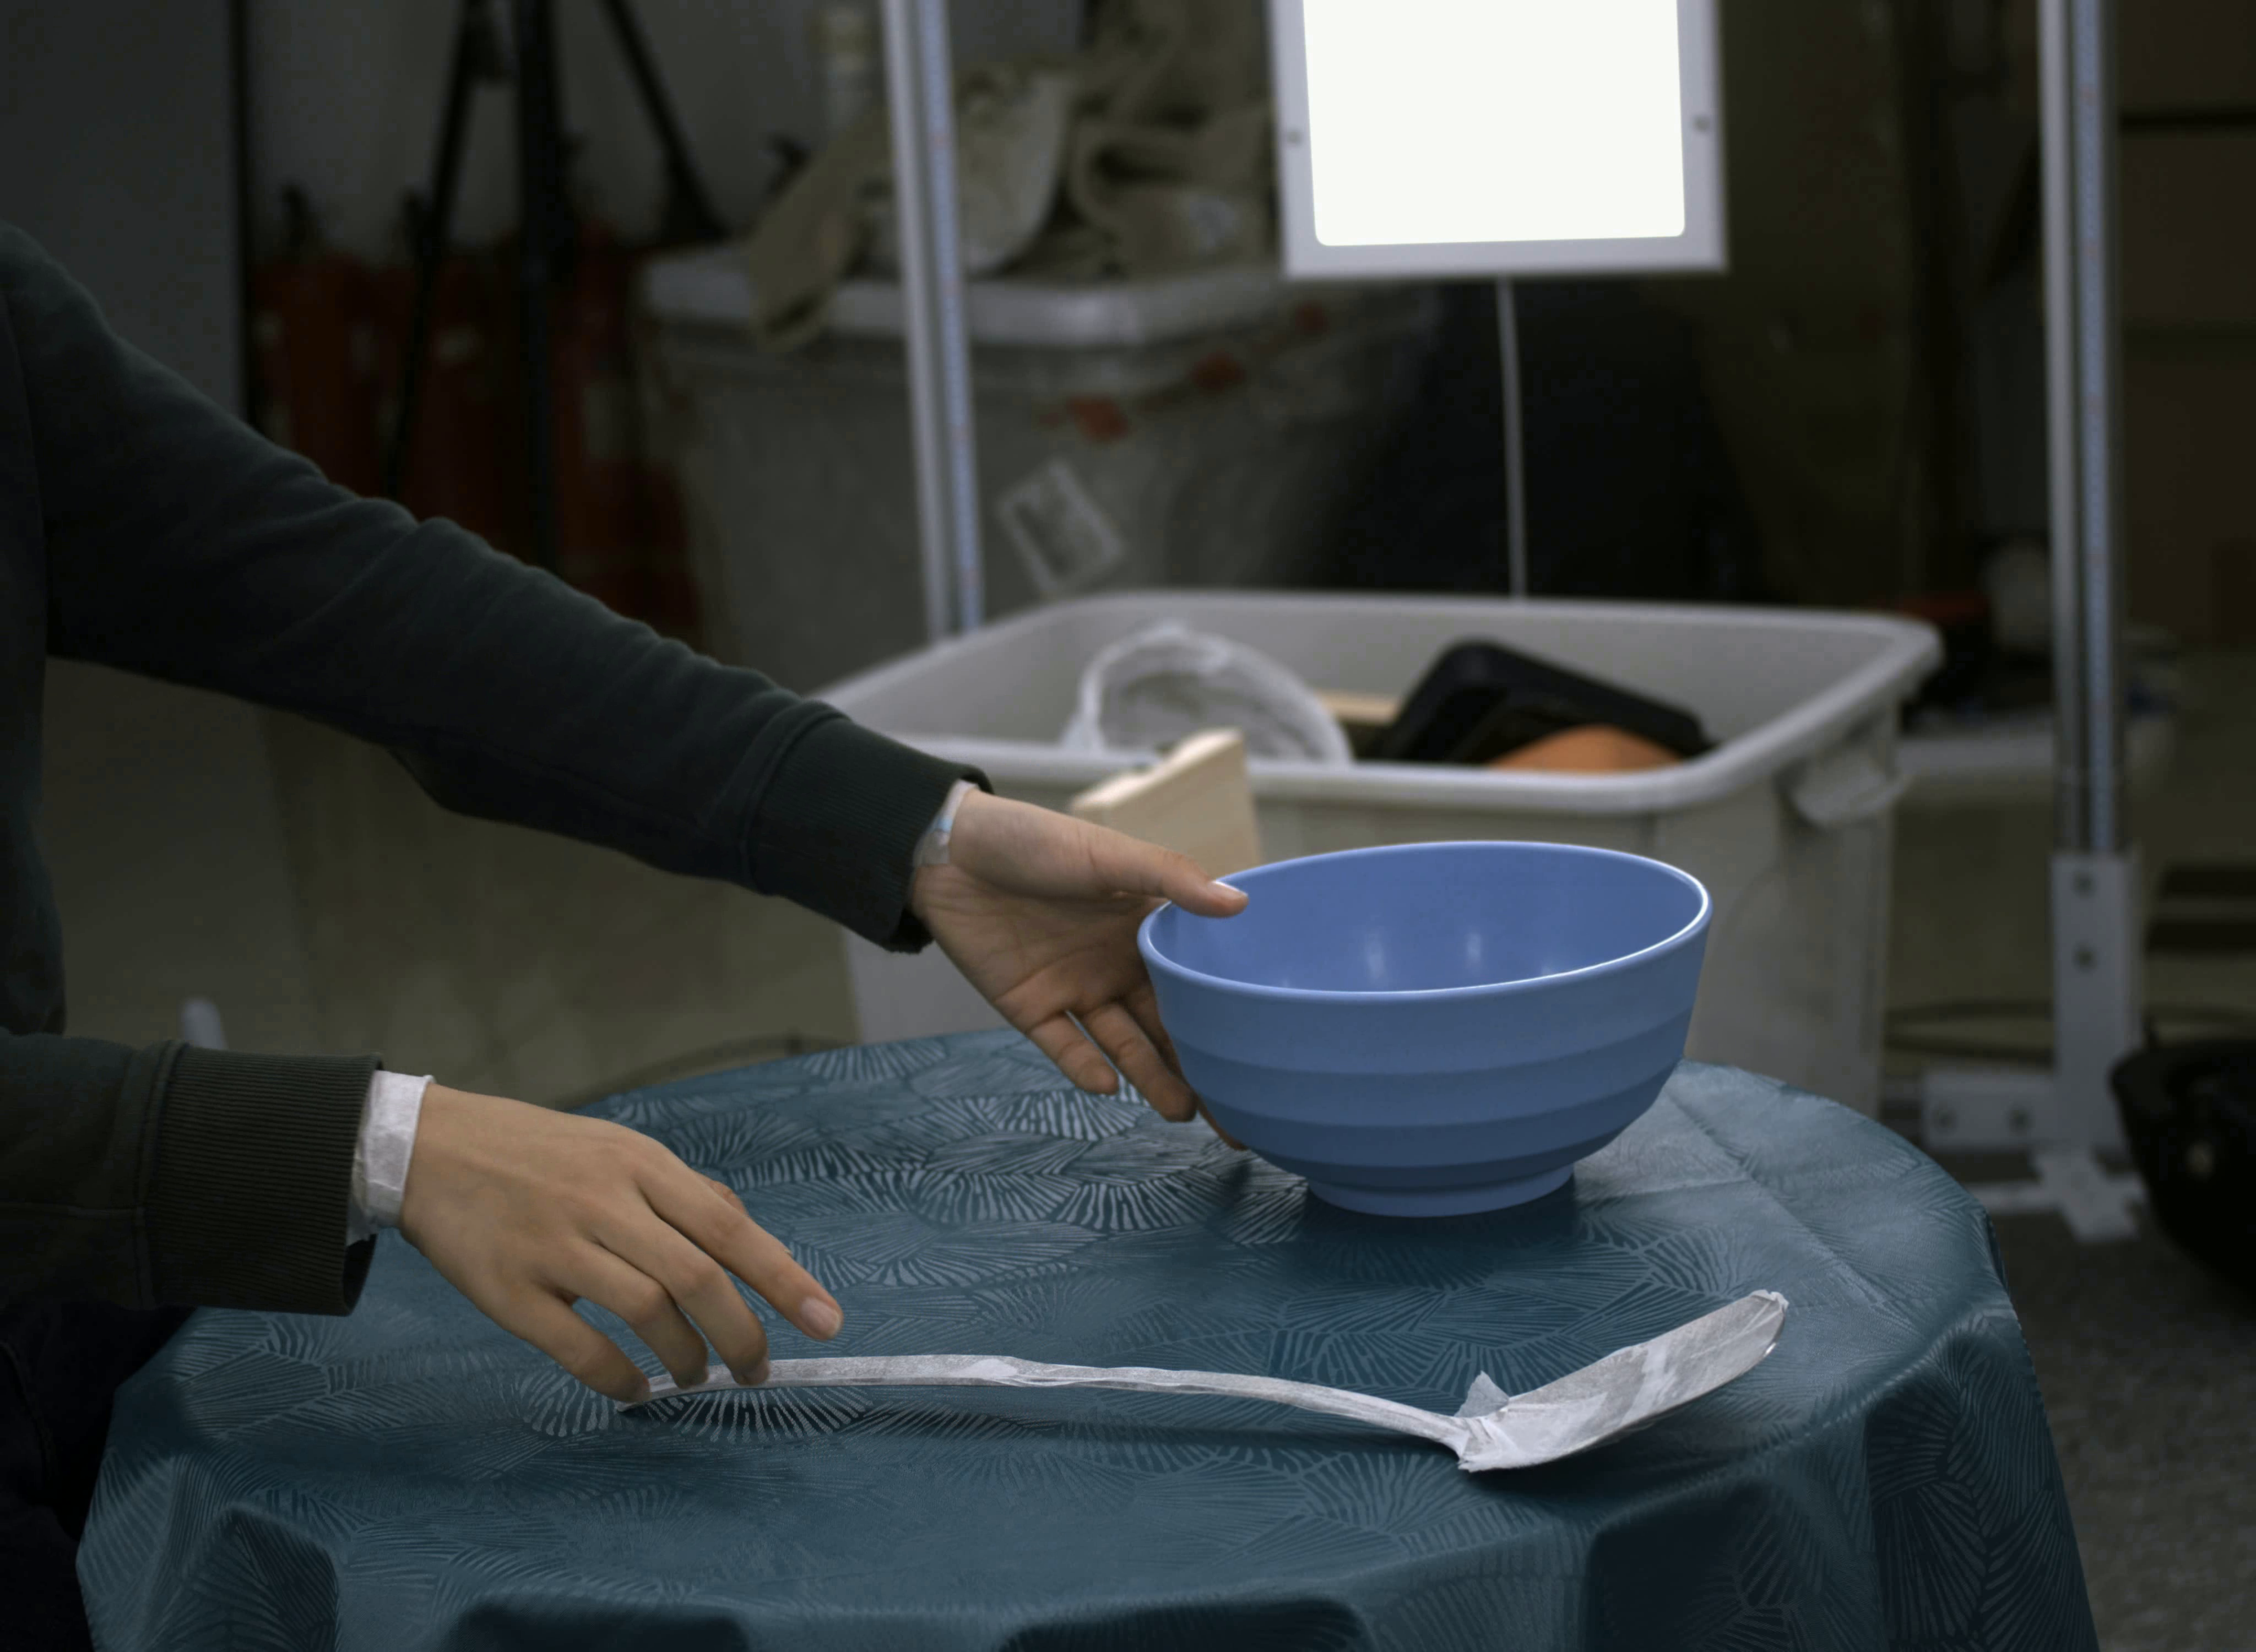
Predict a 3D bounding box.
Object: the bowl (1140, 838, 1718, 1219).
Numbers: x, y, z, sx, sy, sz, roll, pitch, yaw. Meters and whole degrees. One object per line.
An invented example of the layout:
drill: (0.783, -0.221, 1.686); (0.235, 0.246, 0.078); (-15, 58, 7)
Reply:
bowl: (0.104, 0.075, 1.873); (0.196, 0.096, 0.196); (-4, 14, 0)

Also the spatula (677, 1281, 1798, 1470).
spatula: (0.022, 0.163, 1.659); (0.370, 0.045, 0.097); (1, 17, 23)
